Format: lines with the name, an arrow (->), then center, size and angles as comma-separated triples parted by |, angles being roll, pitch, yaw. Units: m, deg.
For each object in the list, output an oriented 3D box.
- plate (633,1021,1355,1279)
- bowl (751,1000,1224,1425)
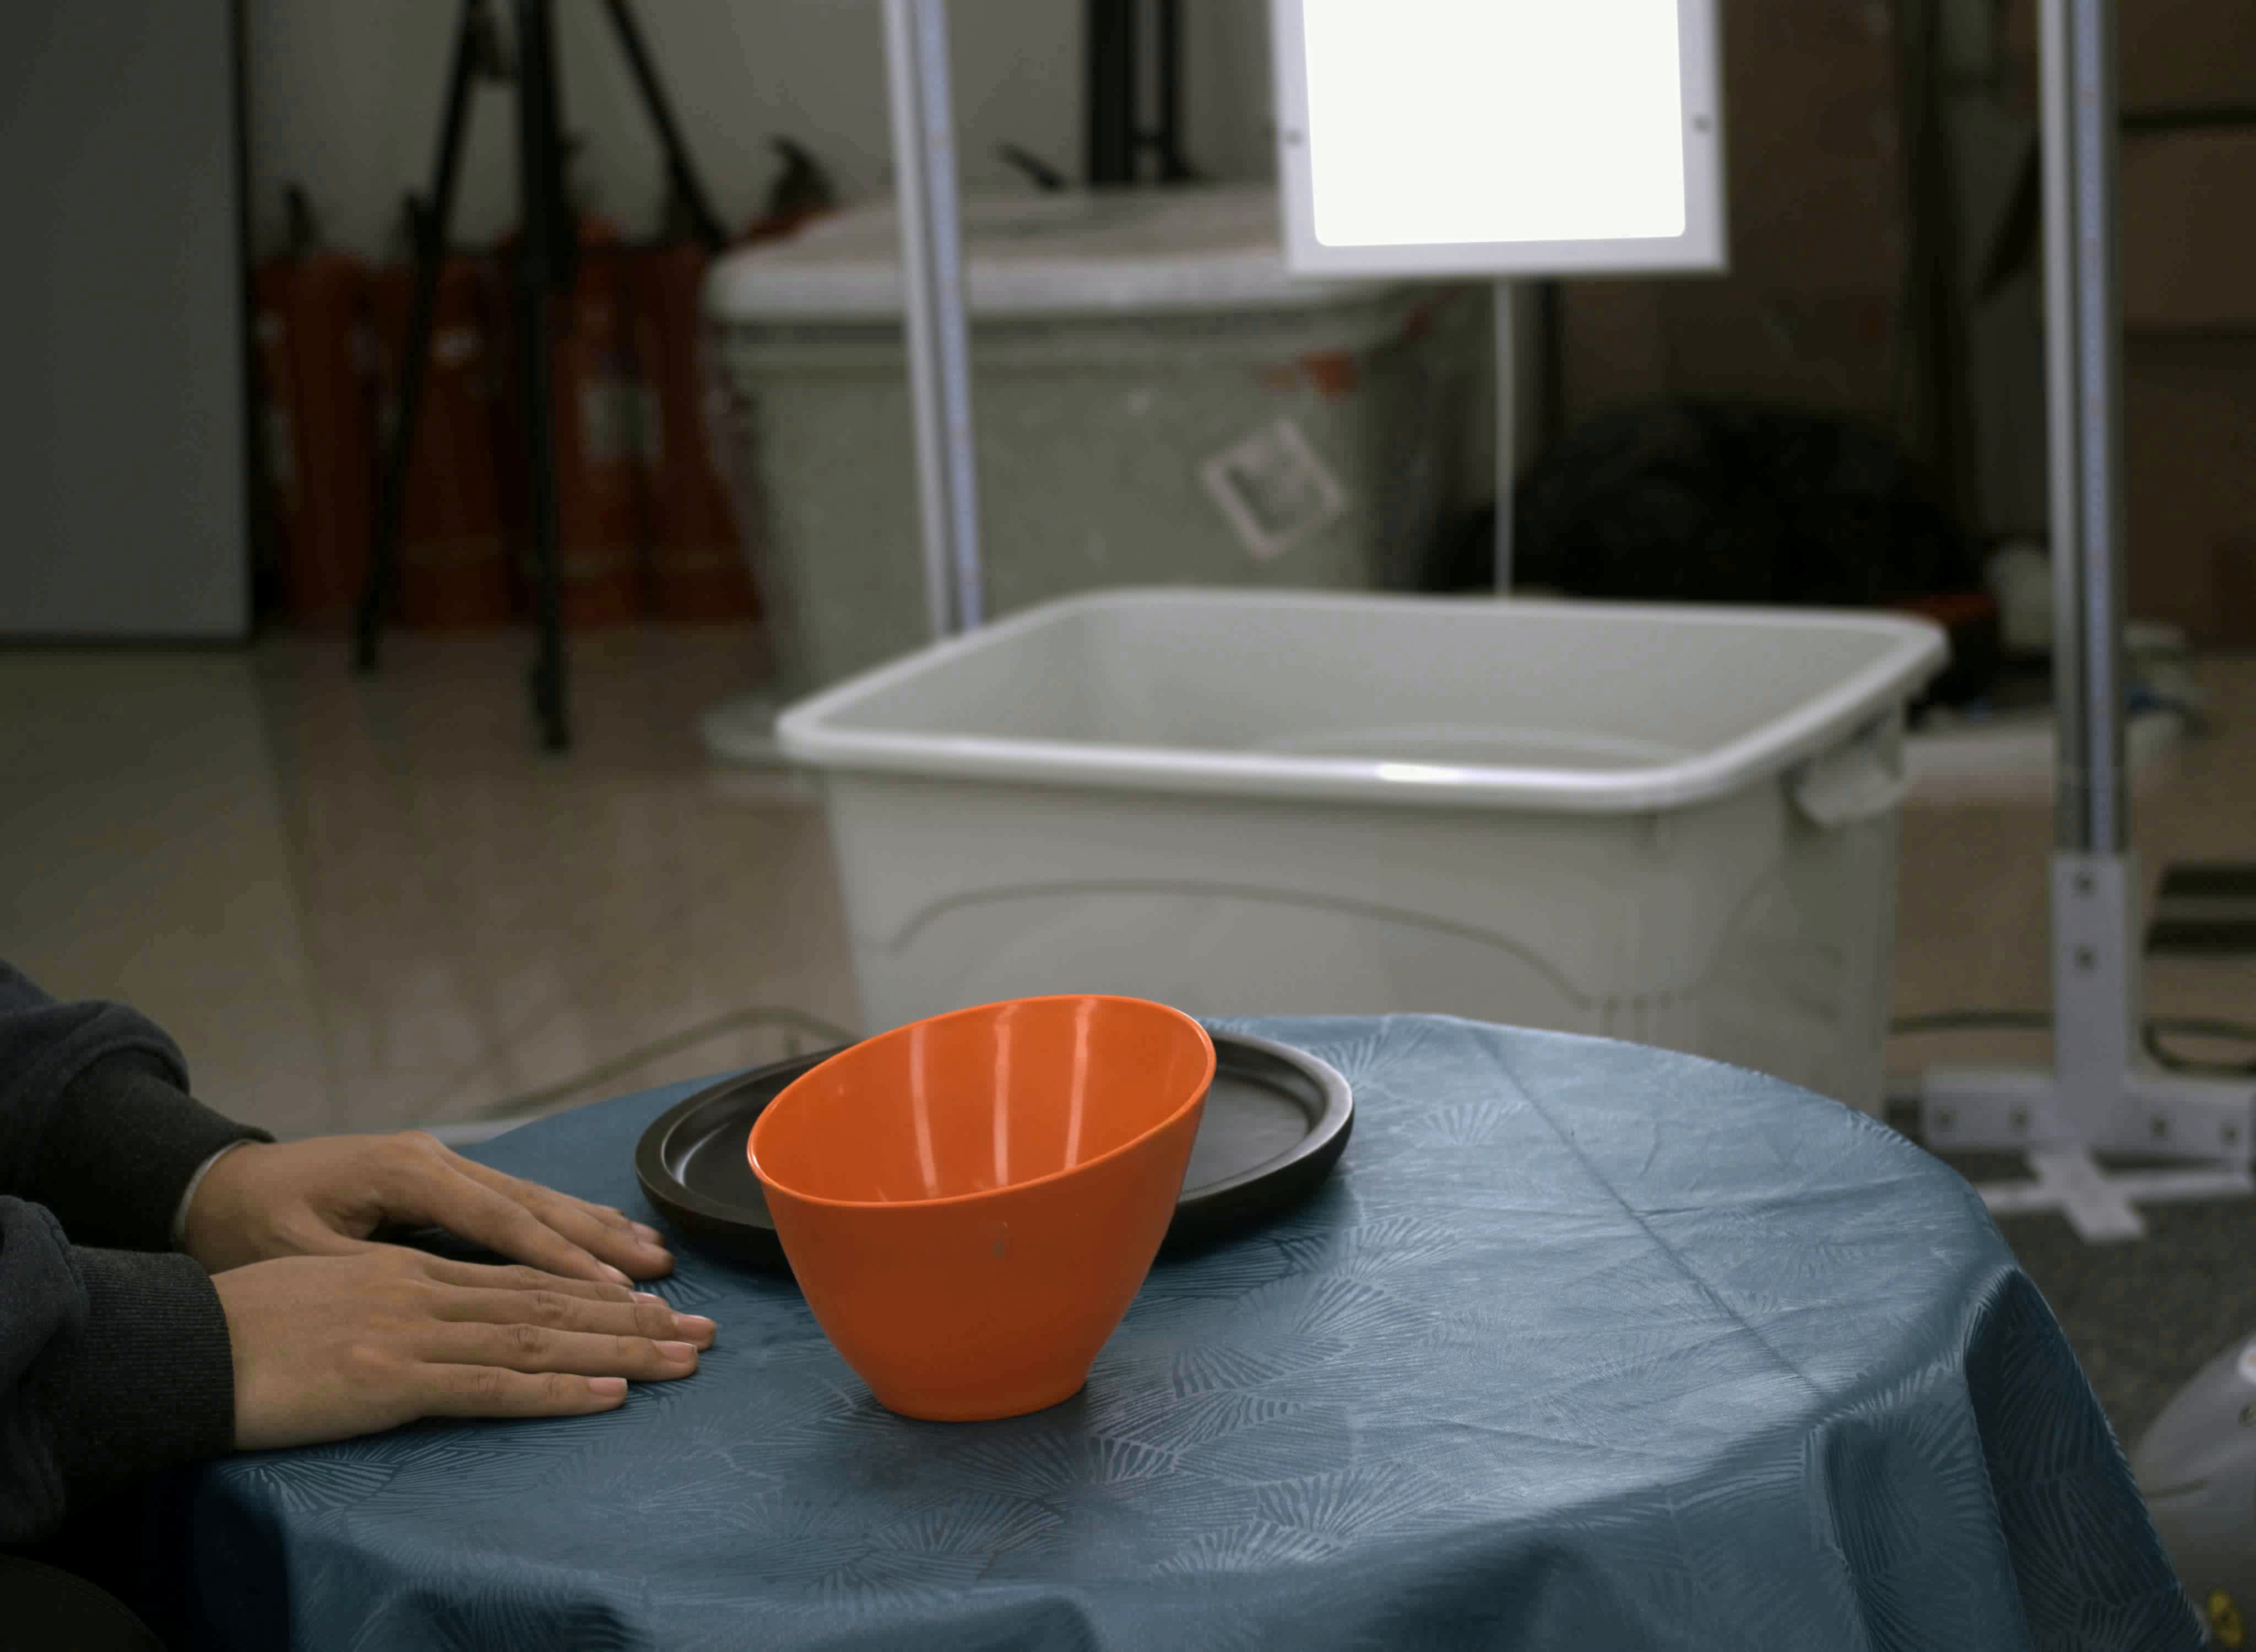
plate -> -0.046, 0.113, 1.921 | 0.254, 0.029, 0.254 | -5, 15, 0
bowl -> -0.041, 0.123, 1.712 | 0.147, 0.105, 0.148 | -3, 15, -1
